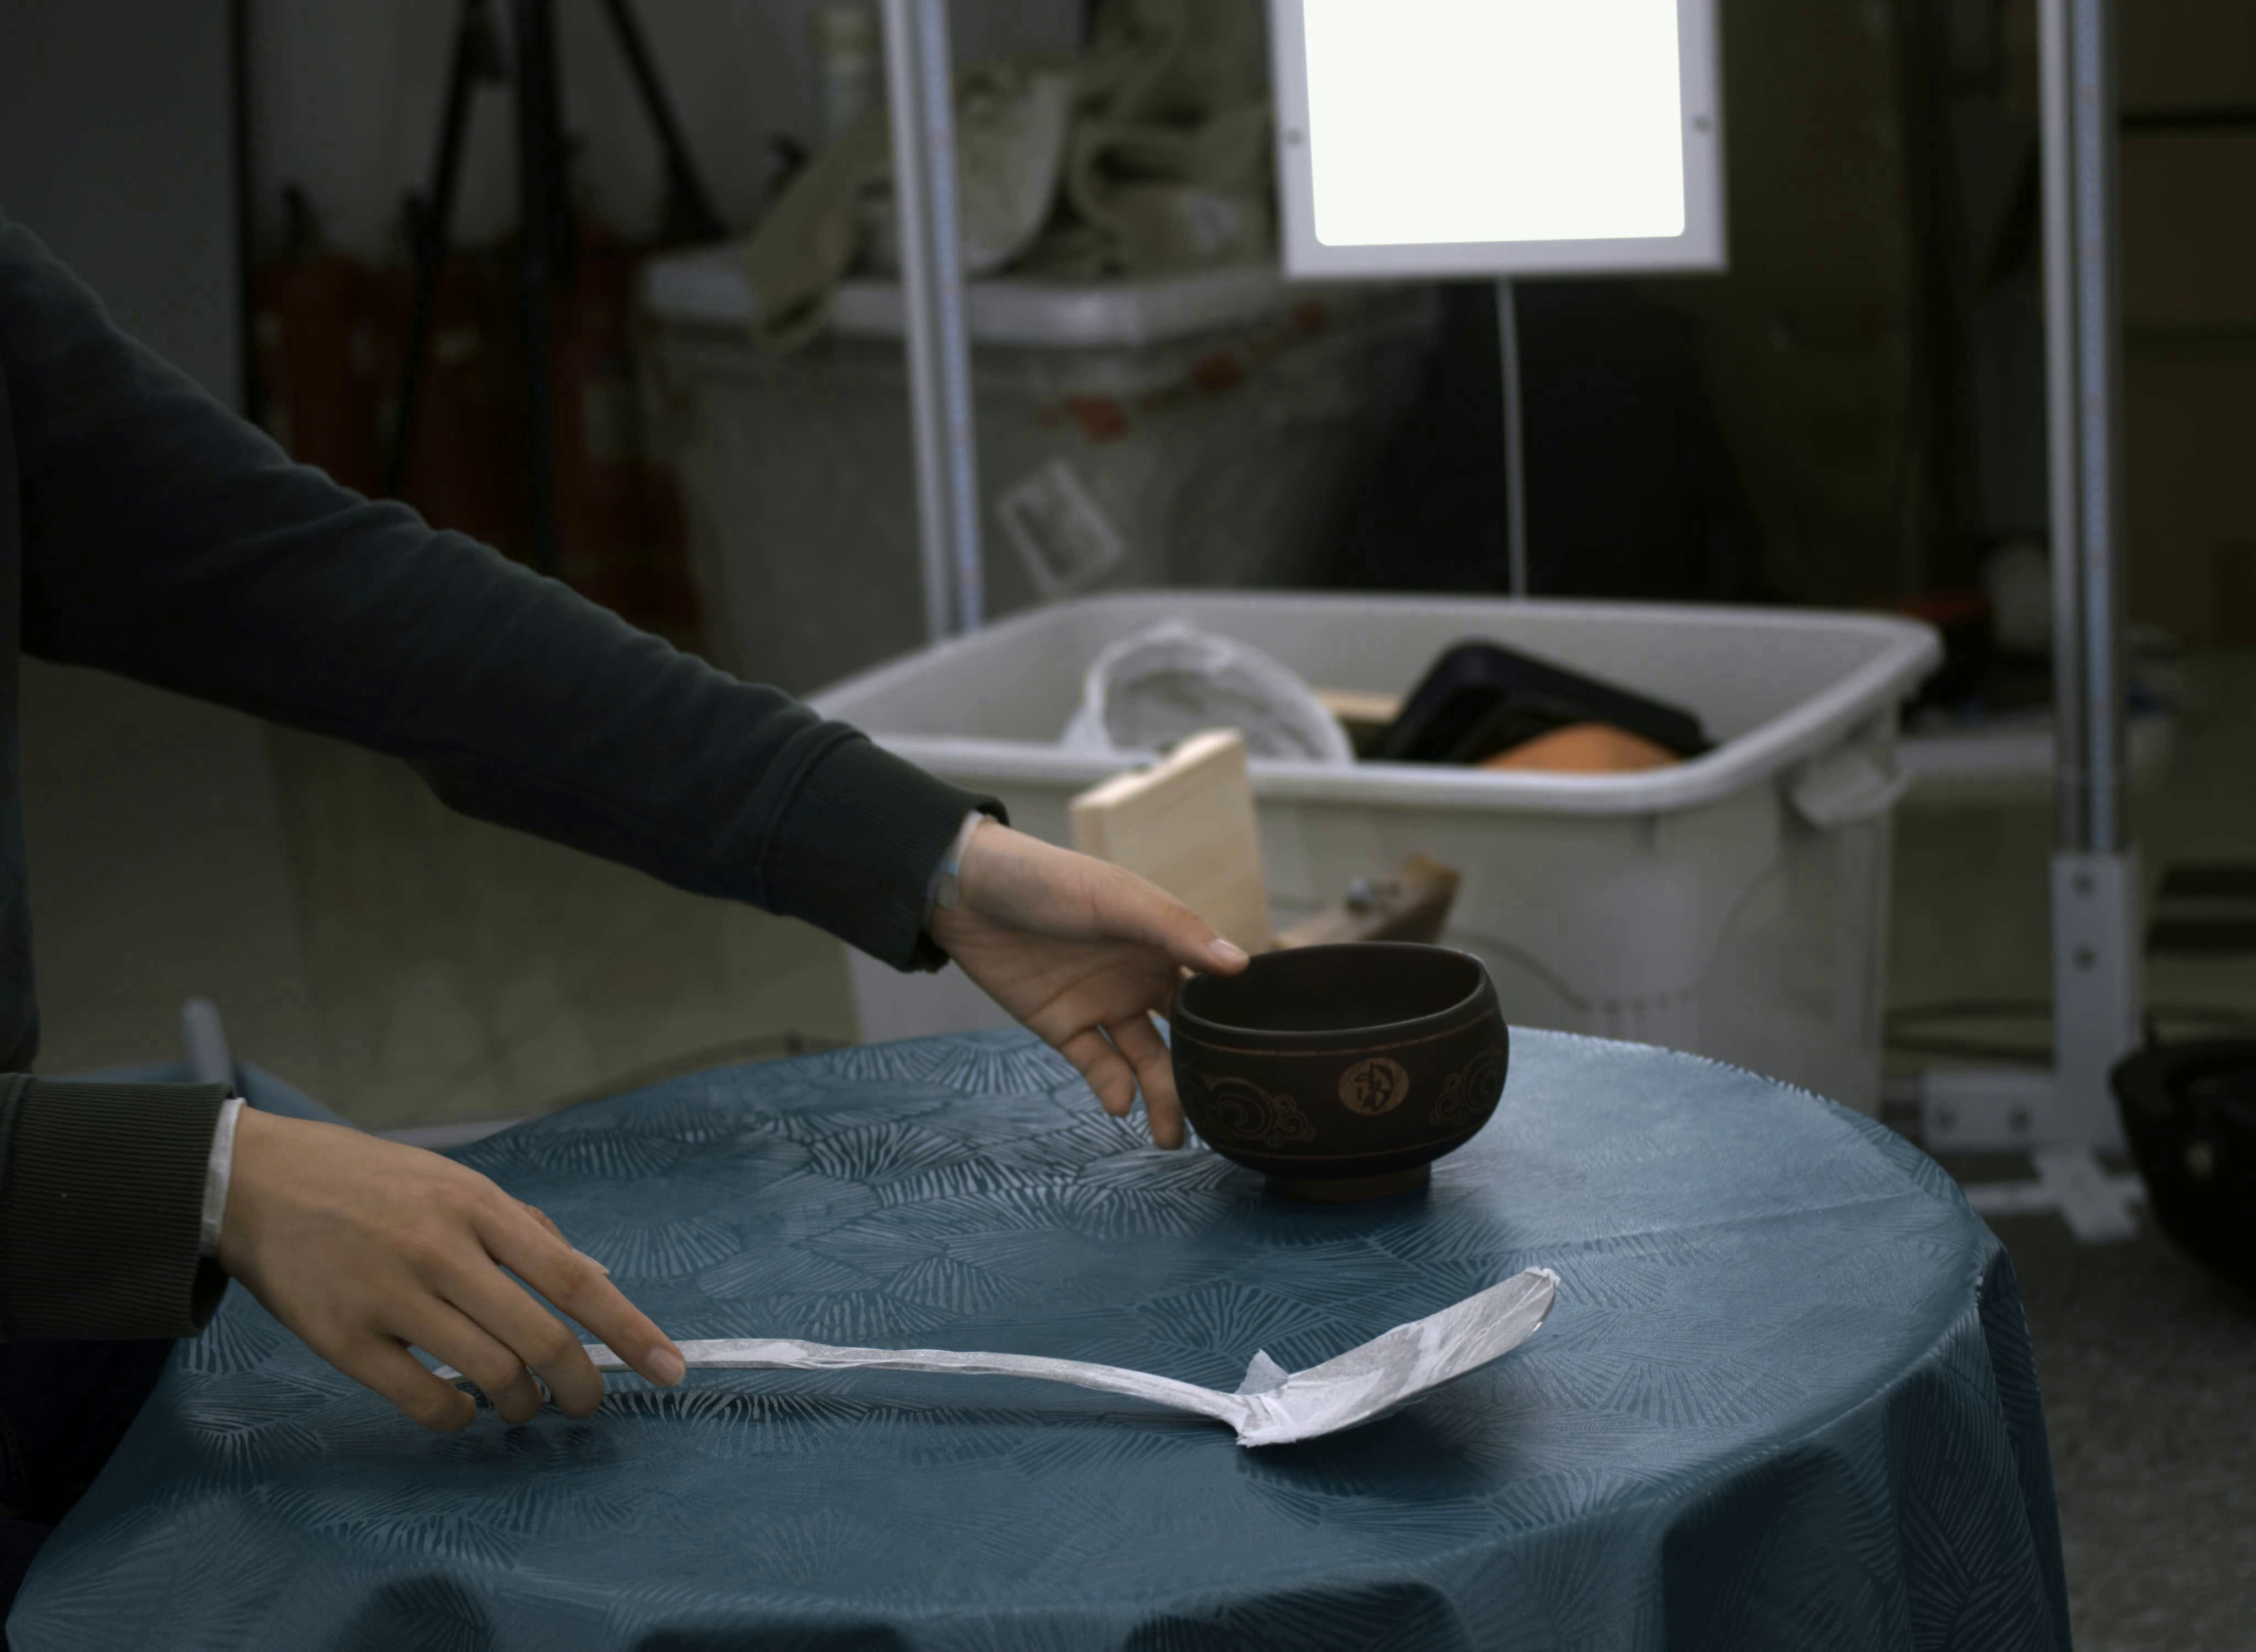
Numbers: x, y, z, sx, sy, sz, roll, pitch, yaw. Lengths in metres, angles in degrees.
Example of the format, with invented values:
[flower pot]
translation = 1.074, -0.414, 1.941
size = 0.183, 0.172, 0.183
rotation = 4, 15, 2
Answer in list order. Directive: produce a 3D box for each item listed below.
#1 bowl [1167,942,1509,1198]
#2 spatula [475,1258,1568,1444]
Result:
[bowl]
translation = 0.073, 0.086, 1.884
size = 0.118, 0.070, 0.118
rotation = -5, 12, 0
[spatula]
translation = -0.043, 0.160, 1.694
size = 0.370, 0.045, 0.097
rotation = 1, 17, 21
